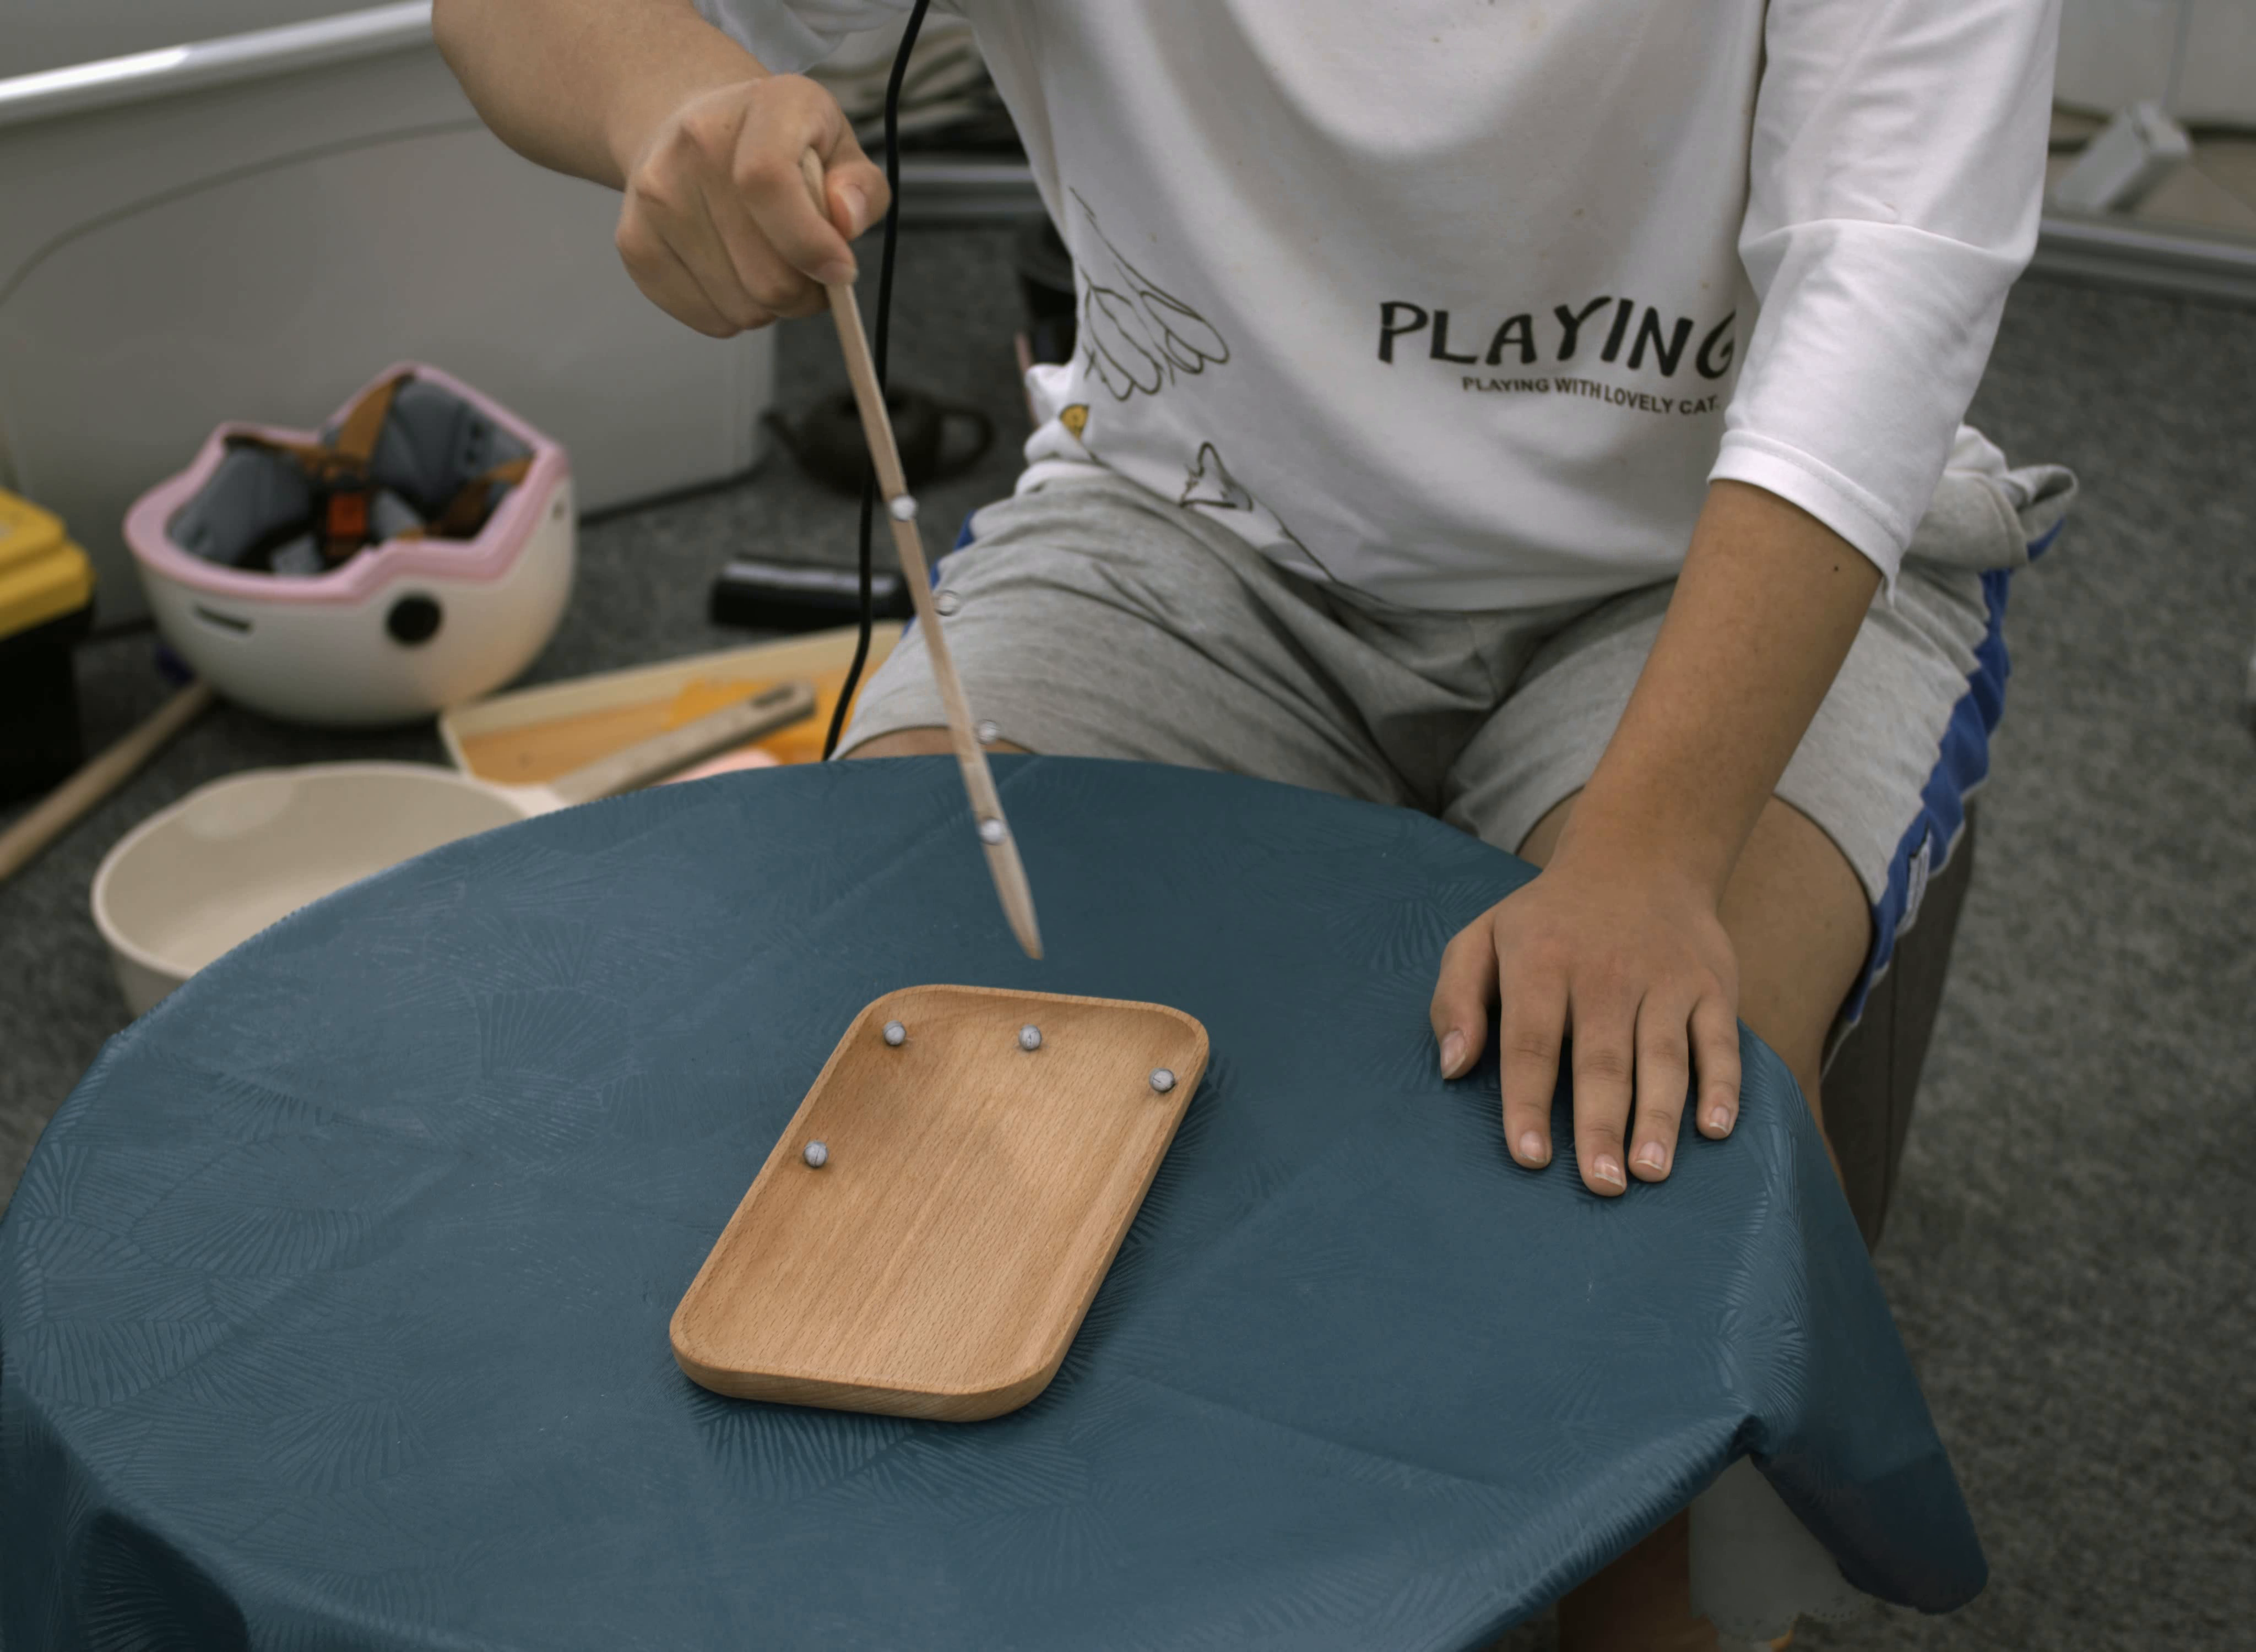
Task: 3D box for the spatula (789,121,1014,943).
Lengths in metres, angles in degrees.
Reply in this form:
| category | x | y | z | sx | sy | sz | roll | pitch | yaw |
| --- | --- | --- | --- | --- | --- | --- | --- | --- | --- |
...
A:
| category | x | y | z | sx | sy | sz | roll | pitch | yaw |
| --- | --- | --- | --- | --- | --- | --- | --- | --- | --- |
| spatula | -0.072 | -0.093 | 1.785 | 0.010 | 0.289 | 0.073 | -13 | 34 | 1 |

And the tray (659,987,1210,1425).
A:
| category | x | y | z | sx | sy | sz | roll | pitch | yaw |
| --- | --- | --- | --- | --- | --- | --- | --- | --- | --- |
| tray | -0.060 | 0.122 | 1.851 | 0.129 | 0.022 | 0.255 | 3 | 28 | 16 |
